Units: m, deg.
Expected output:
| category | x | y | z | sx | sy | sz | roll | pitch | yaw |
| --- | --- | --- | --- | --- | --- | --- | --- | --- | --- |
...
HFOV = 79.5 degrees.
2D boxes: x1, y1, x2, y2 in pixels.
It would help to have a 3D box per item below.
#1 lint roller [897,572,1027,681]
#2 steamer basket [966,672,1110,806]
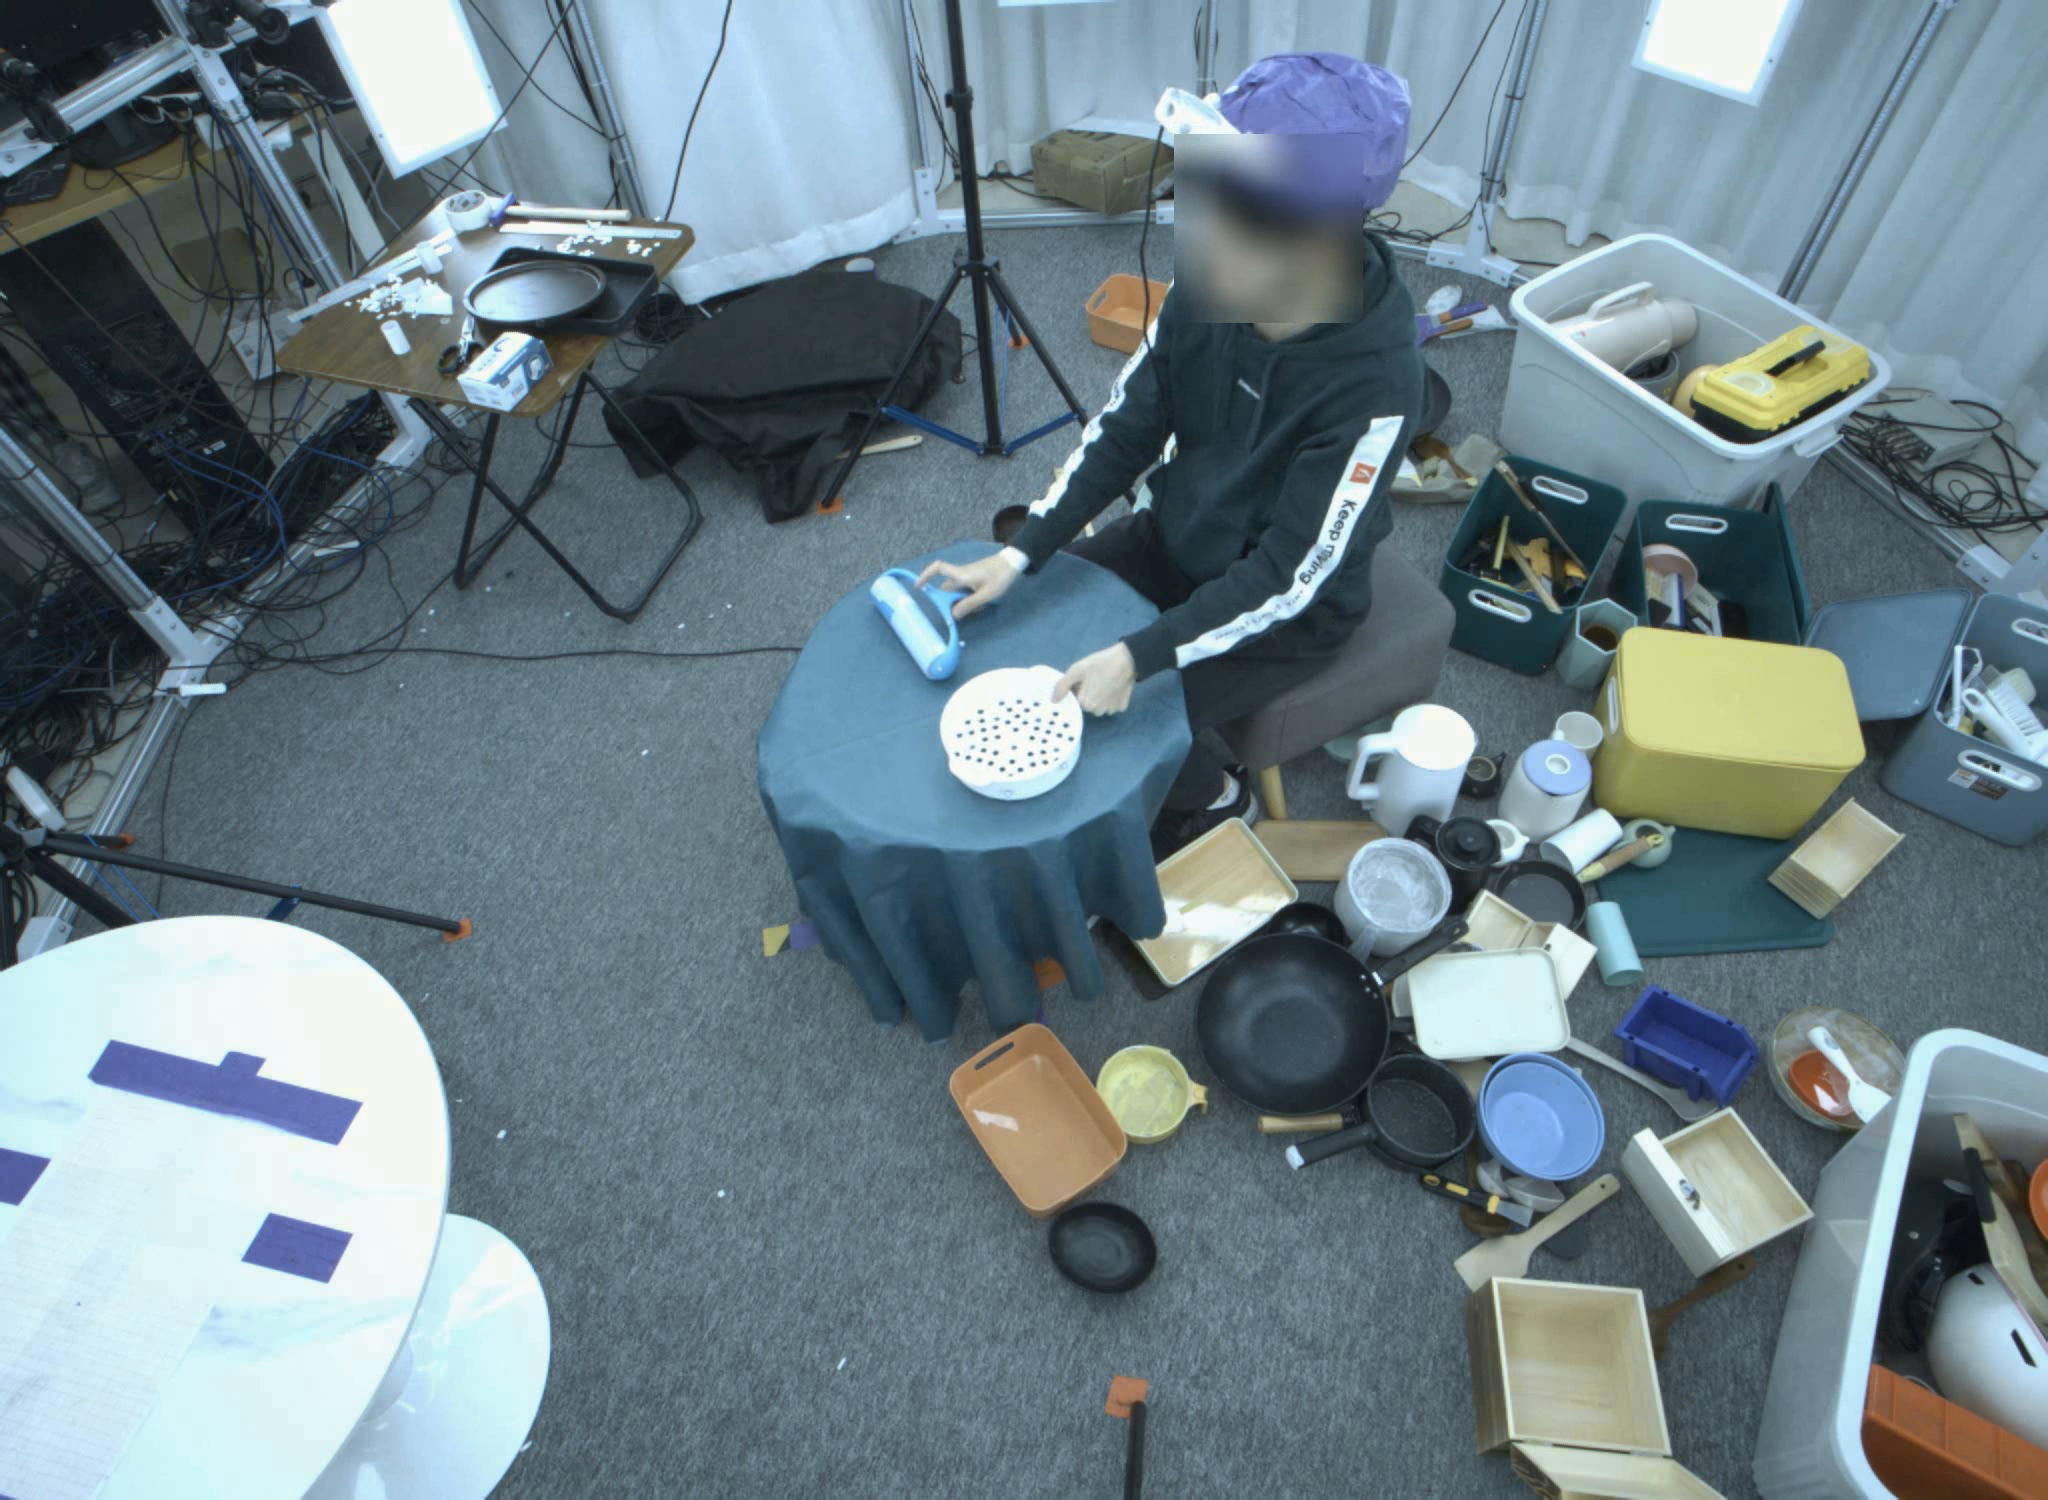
| category | x | y | z | sx | sy | sz | roll | pitch | yaw |
| --- | --- | --- | --- | --- | --- | --- | --- | --- | --- |
| lint roller | -0.079 | -0.215 | 1.906 | 0.181 | 0.069 | 0.224 | -30 | 56 | -16 |
| steamer basket | 0.020 | -0.013 | 1.749 | 0.199 | 0.070 | 0.232 | 31 | 61 | 21 |
